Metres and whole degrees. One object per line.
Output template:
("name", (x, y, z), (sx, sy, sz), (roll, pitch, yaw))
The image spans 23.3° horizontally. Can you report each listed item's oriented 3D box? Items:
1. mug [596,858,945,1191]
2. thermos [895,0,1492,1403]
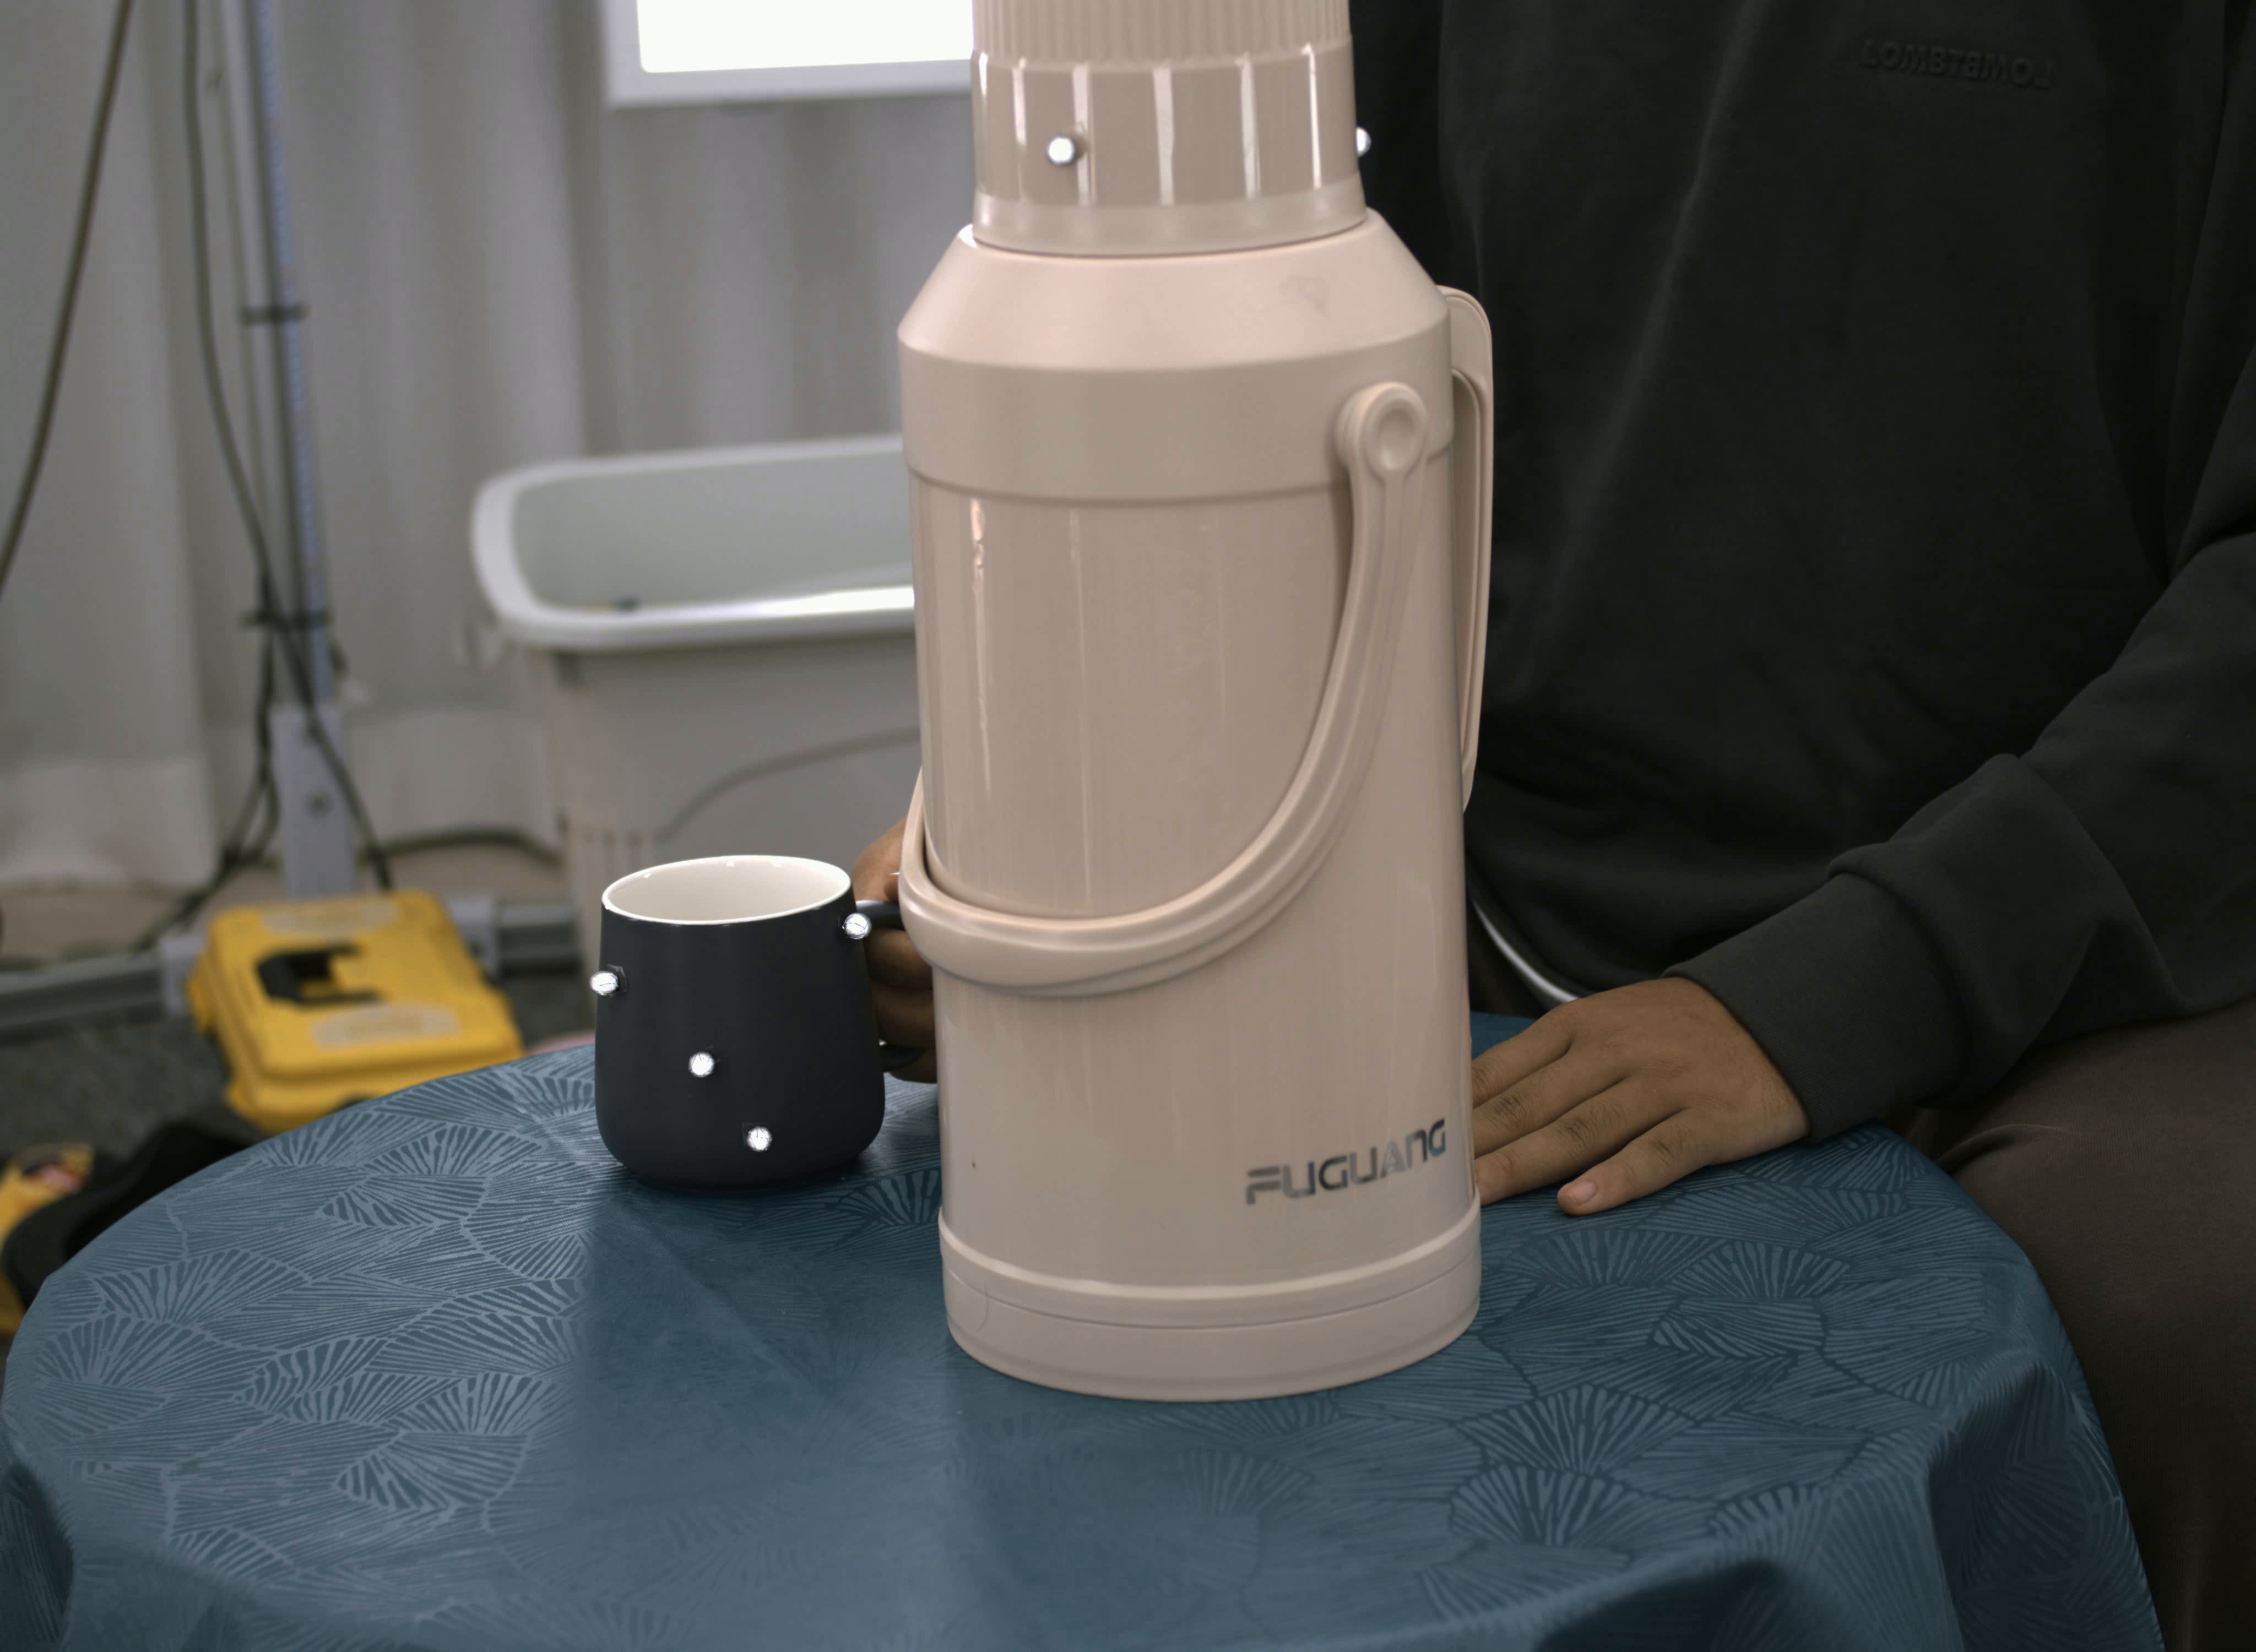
("mug", (-0.113, 0.061, 1.764), (0.123, 0.089, 0.094), (-12, 17, -32))
("thermos", (0.027, -0.052, 1.575), (0.206, 0.405, 0.176), (-15, 18, -41))
